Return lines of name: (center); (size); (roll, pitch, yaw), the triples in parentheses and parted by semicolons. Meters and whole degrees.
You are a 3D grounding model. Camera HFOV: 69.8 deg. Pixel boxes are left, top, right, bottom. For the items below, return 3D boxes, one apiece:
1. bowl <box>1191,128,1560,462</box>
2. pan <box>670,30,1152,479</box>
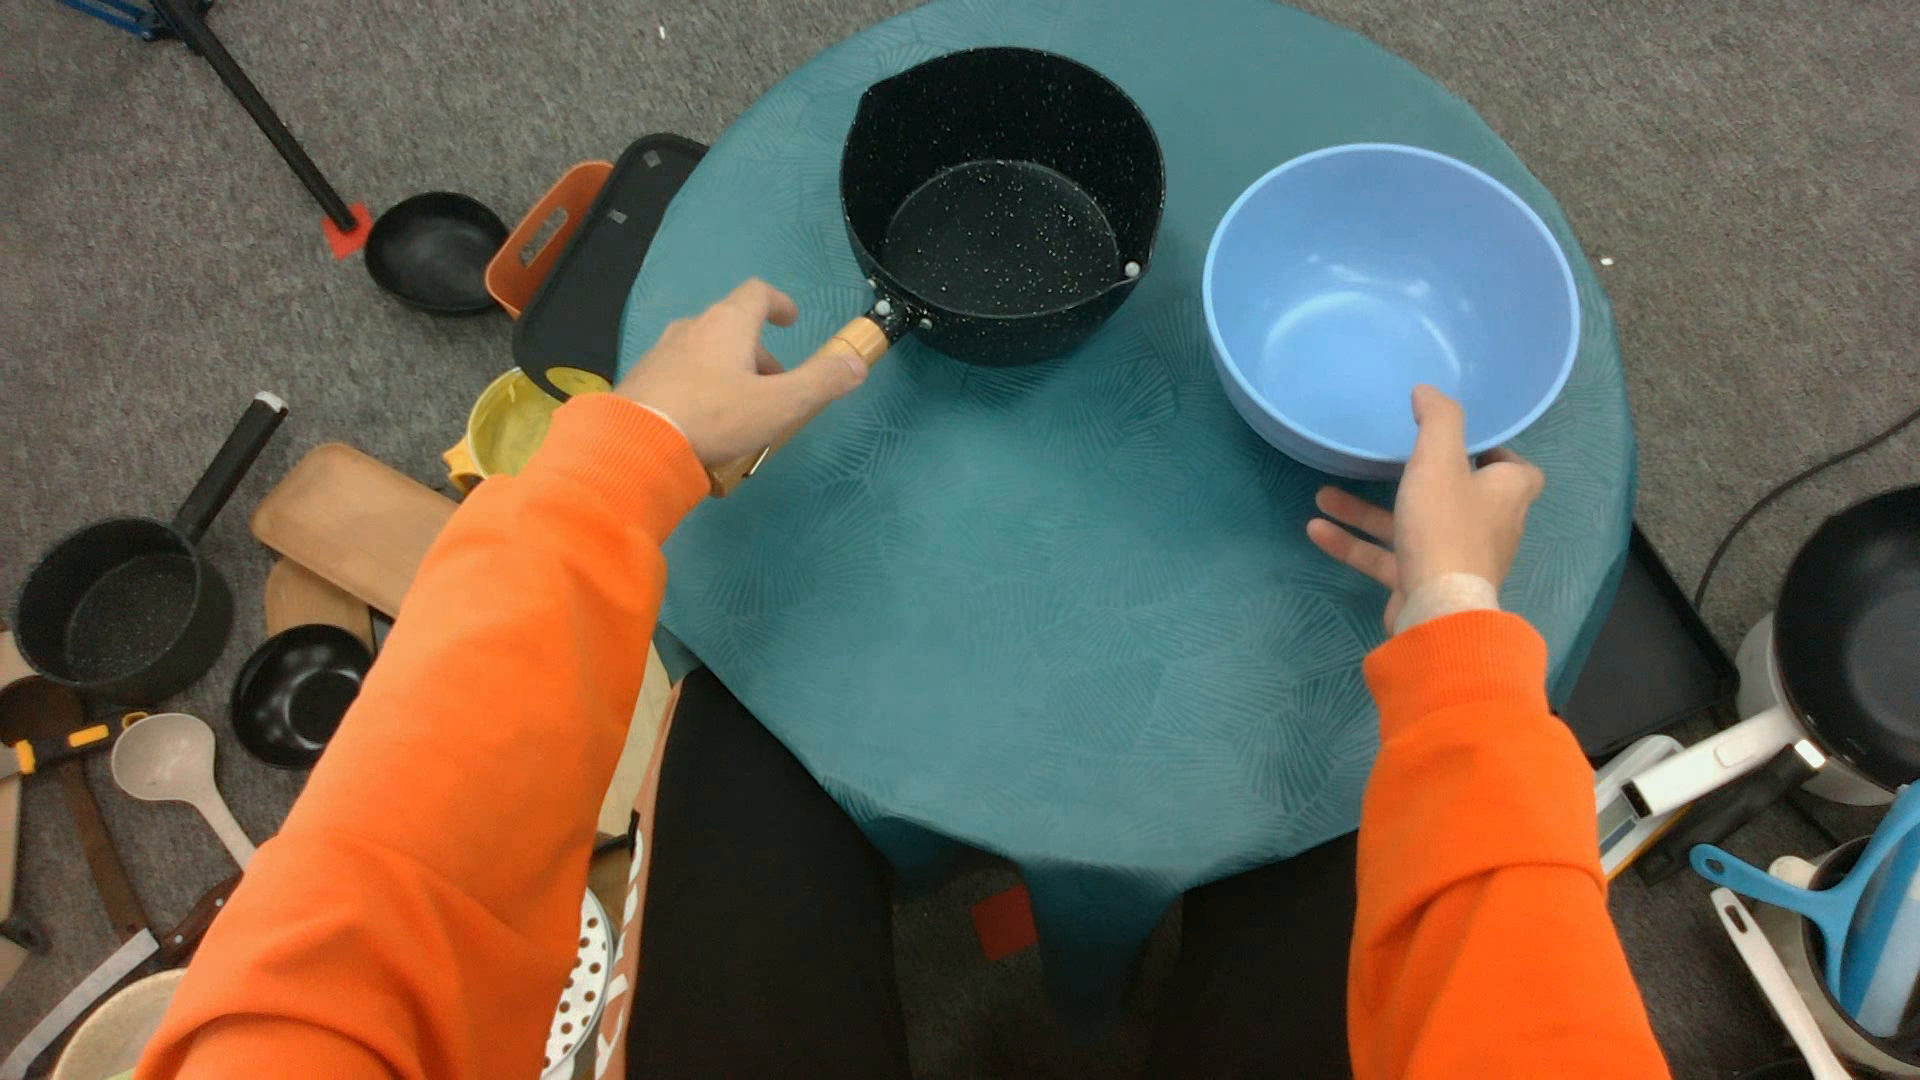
bowl: (0.220, -0.122, 0.774); (0.196, 0.095, 0.197); (0, 67, -1)
pan: (-0.032, -0.142, 0.776); (0.207, 0.108, 0.344); (35, 70, 12)
